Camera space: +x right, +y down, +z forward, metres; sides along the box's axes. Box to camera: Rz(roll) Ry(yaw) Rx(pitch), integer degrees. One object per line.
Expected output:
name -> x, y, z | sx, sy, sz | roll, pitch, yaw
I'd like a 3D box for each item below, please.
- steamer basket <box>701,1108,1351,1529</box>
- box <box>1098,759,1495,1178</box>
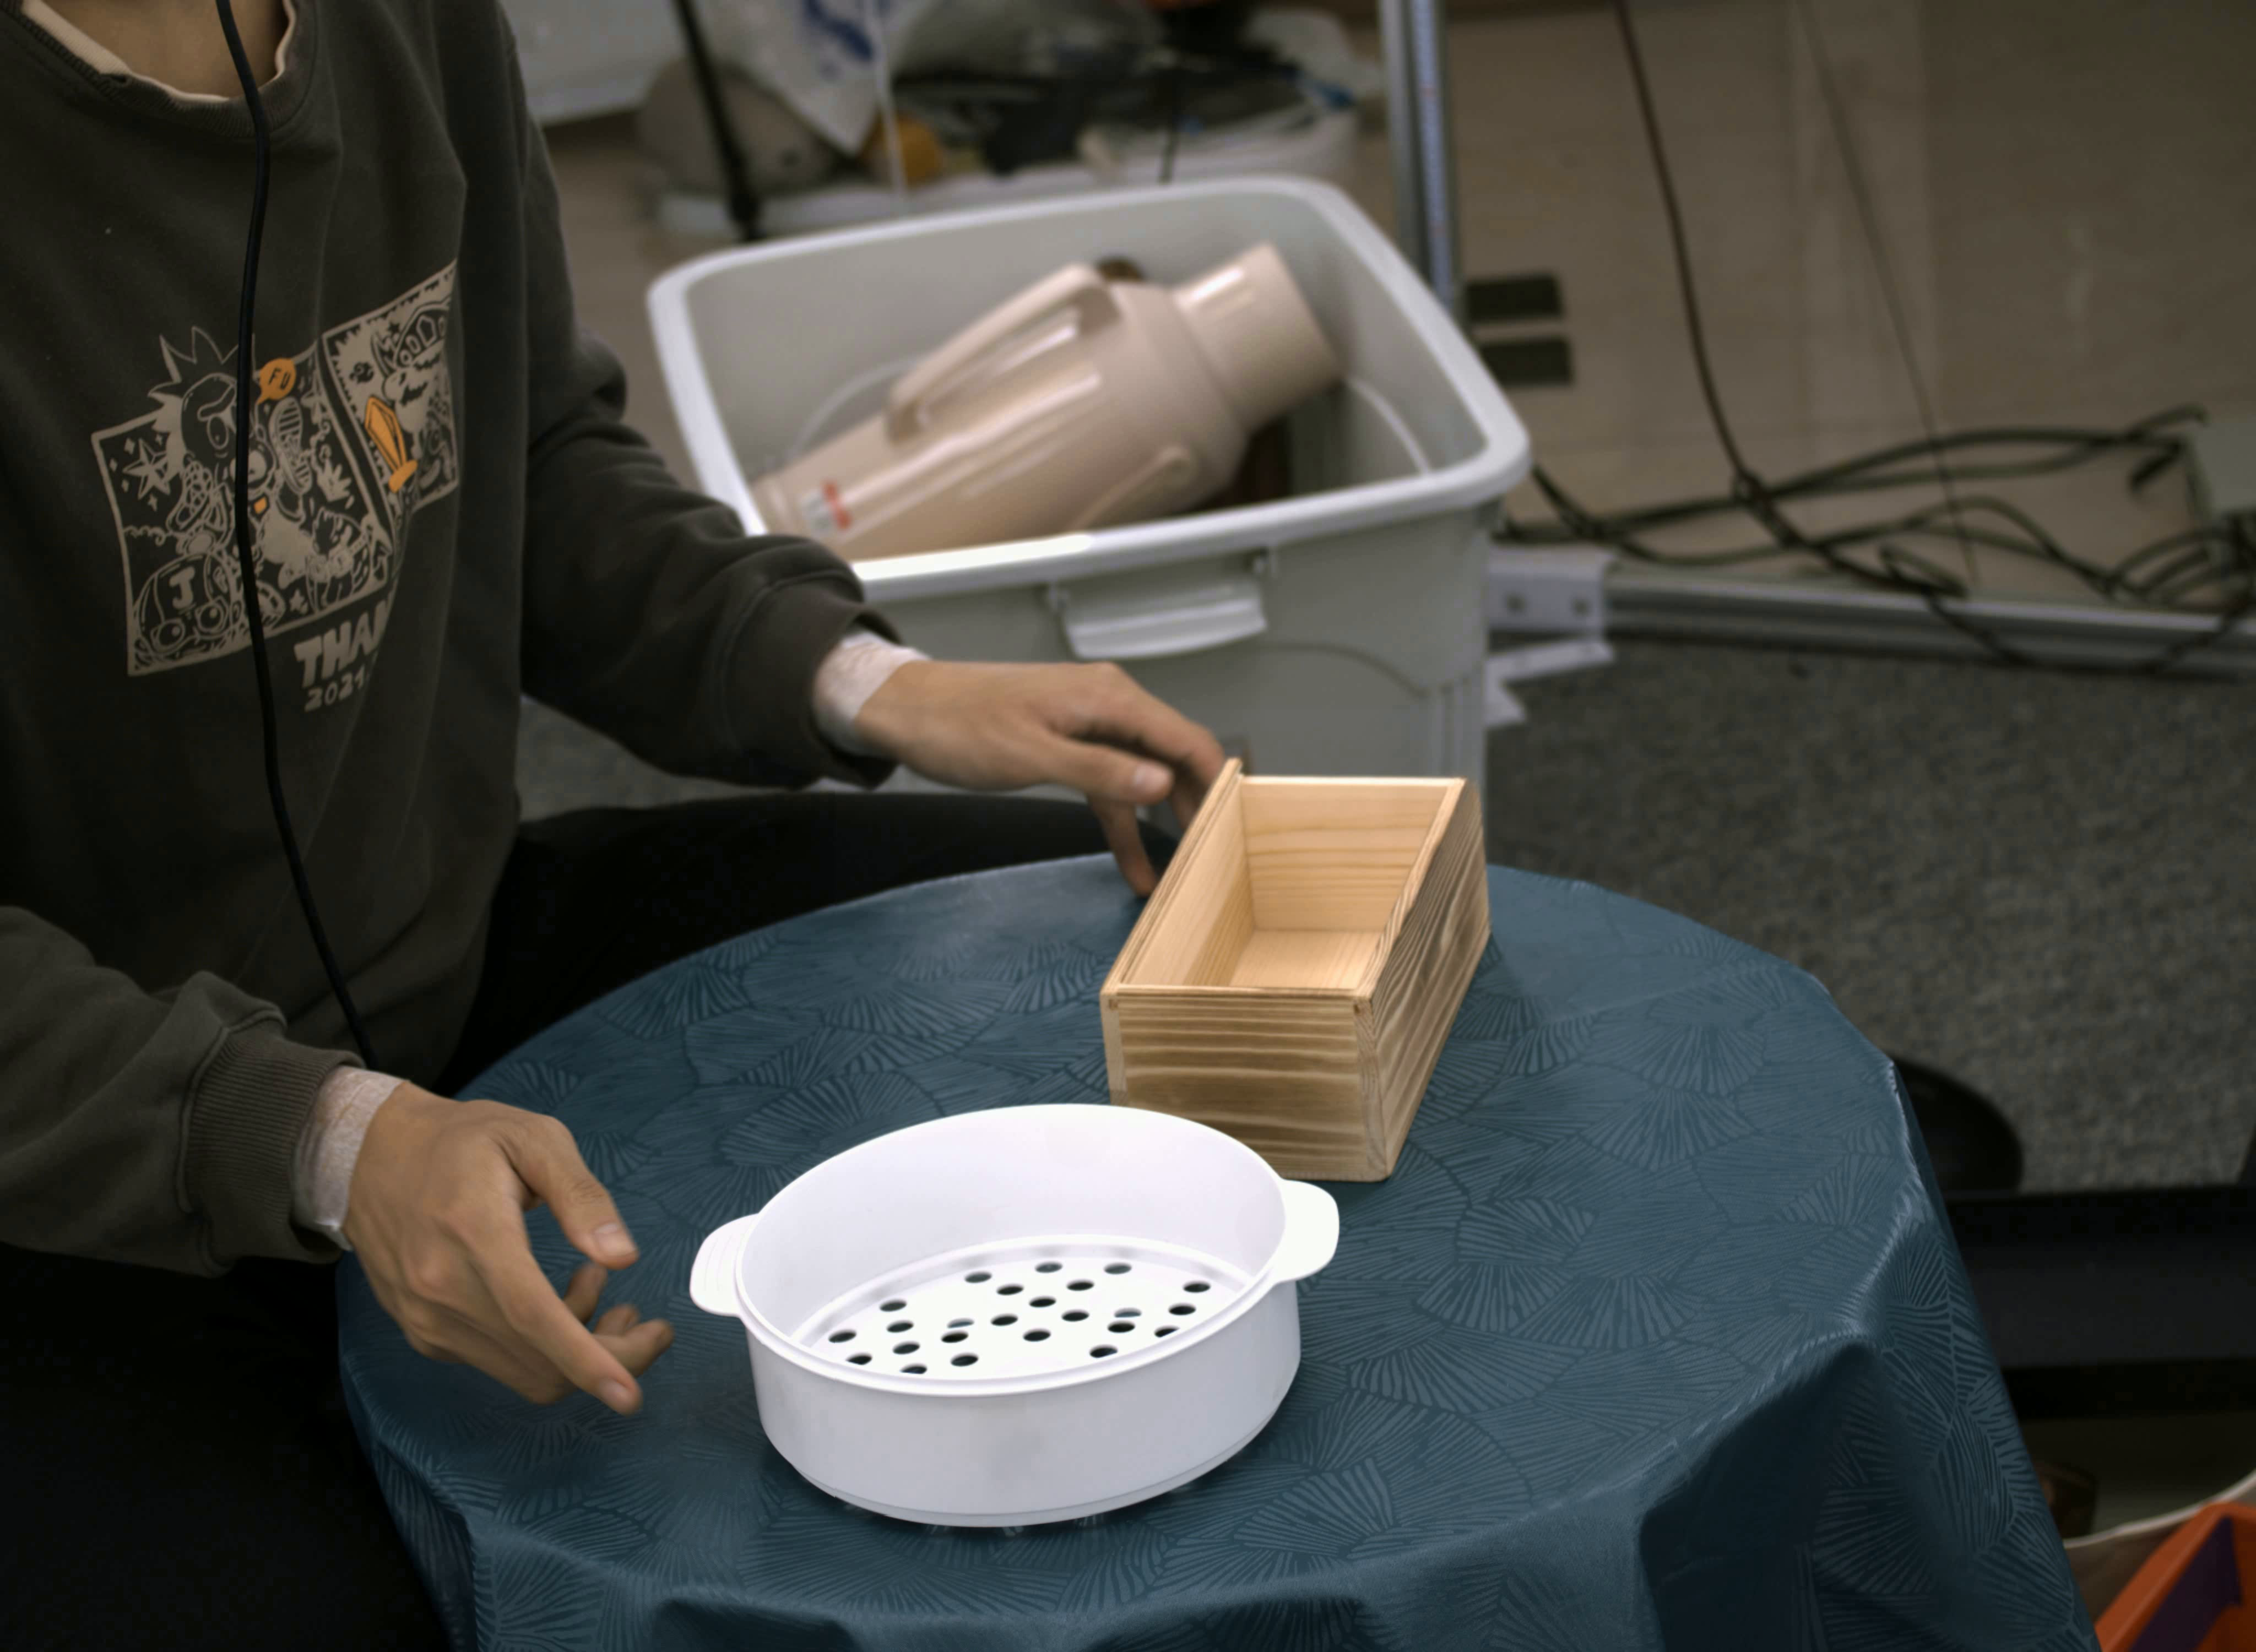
steamer basket -> -0.033, 0.173, 2.001 | 0.230, 0.070, 0.199 | -5, 24, 7
box -> 0.069, 0.053, 2.216 | 0.107, 0.081, 0.208 | 0, 26, 15
